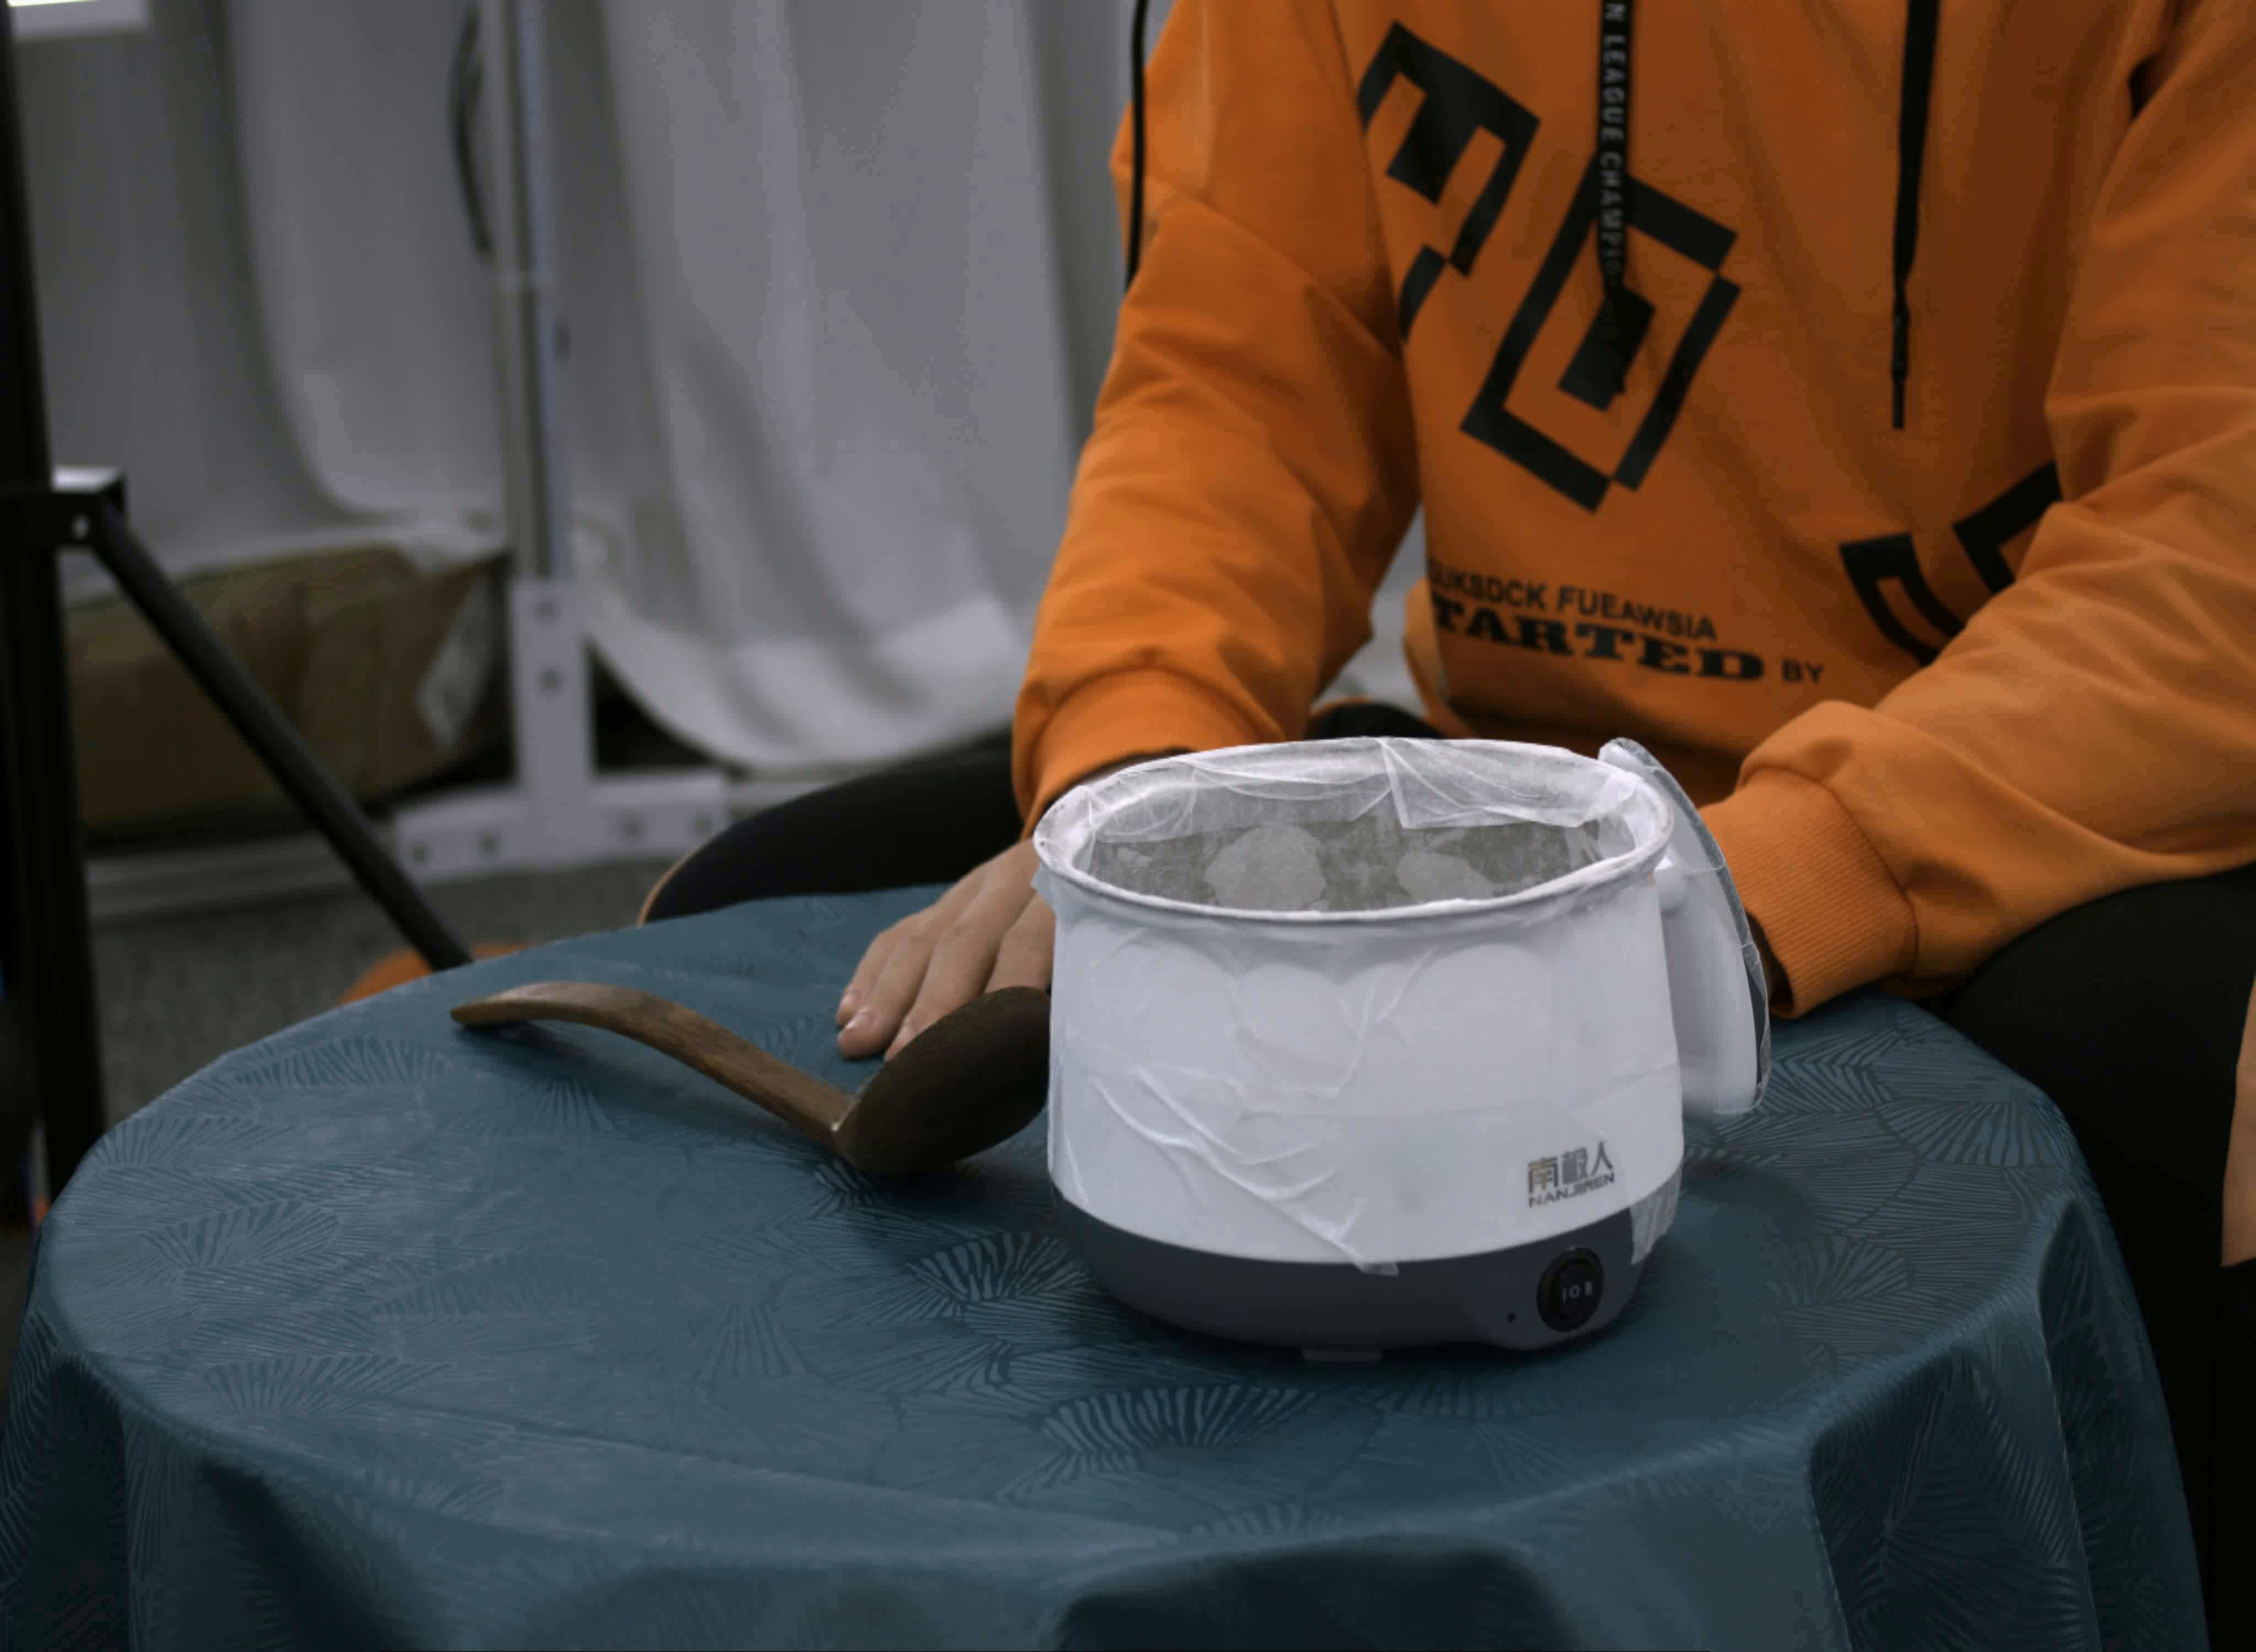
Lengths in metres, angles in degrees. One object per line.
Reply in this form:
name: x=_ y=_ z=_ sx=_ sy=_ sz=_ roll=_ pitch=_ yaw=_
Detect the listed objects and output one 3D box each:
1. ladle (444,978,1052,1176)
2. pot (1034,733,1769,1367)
ladle: x=-0.124 y=0.054 z=1.641 sx=0.074 sy=0.071 sz=0.280 roll=-11 pitch=18 yaw=-39
pot: x=0.086 y=0.054 z=1.481 sx=0.228 sy=0.136 sz=0.183 roll=-14 pitch=20 yaw=-35
